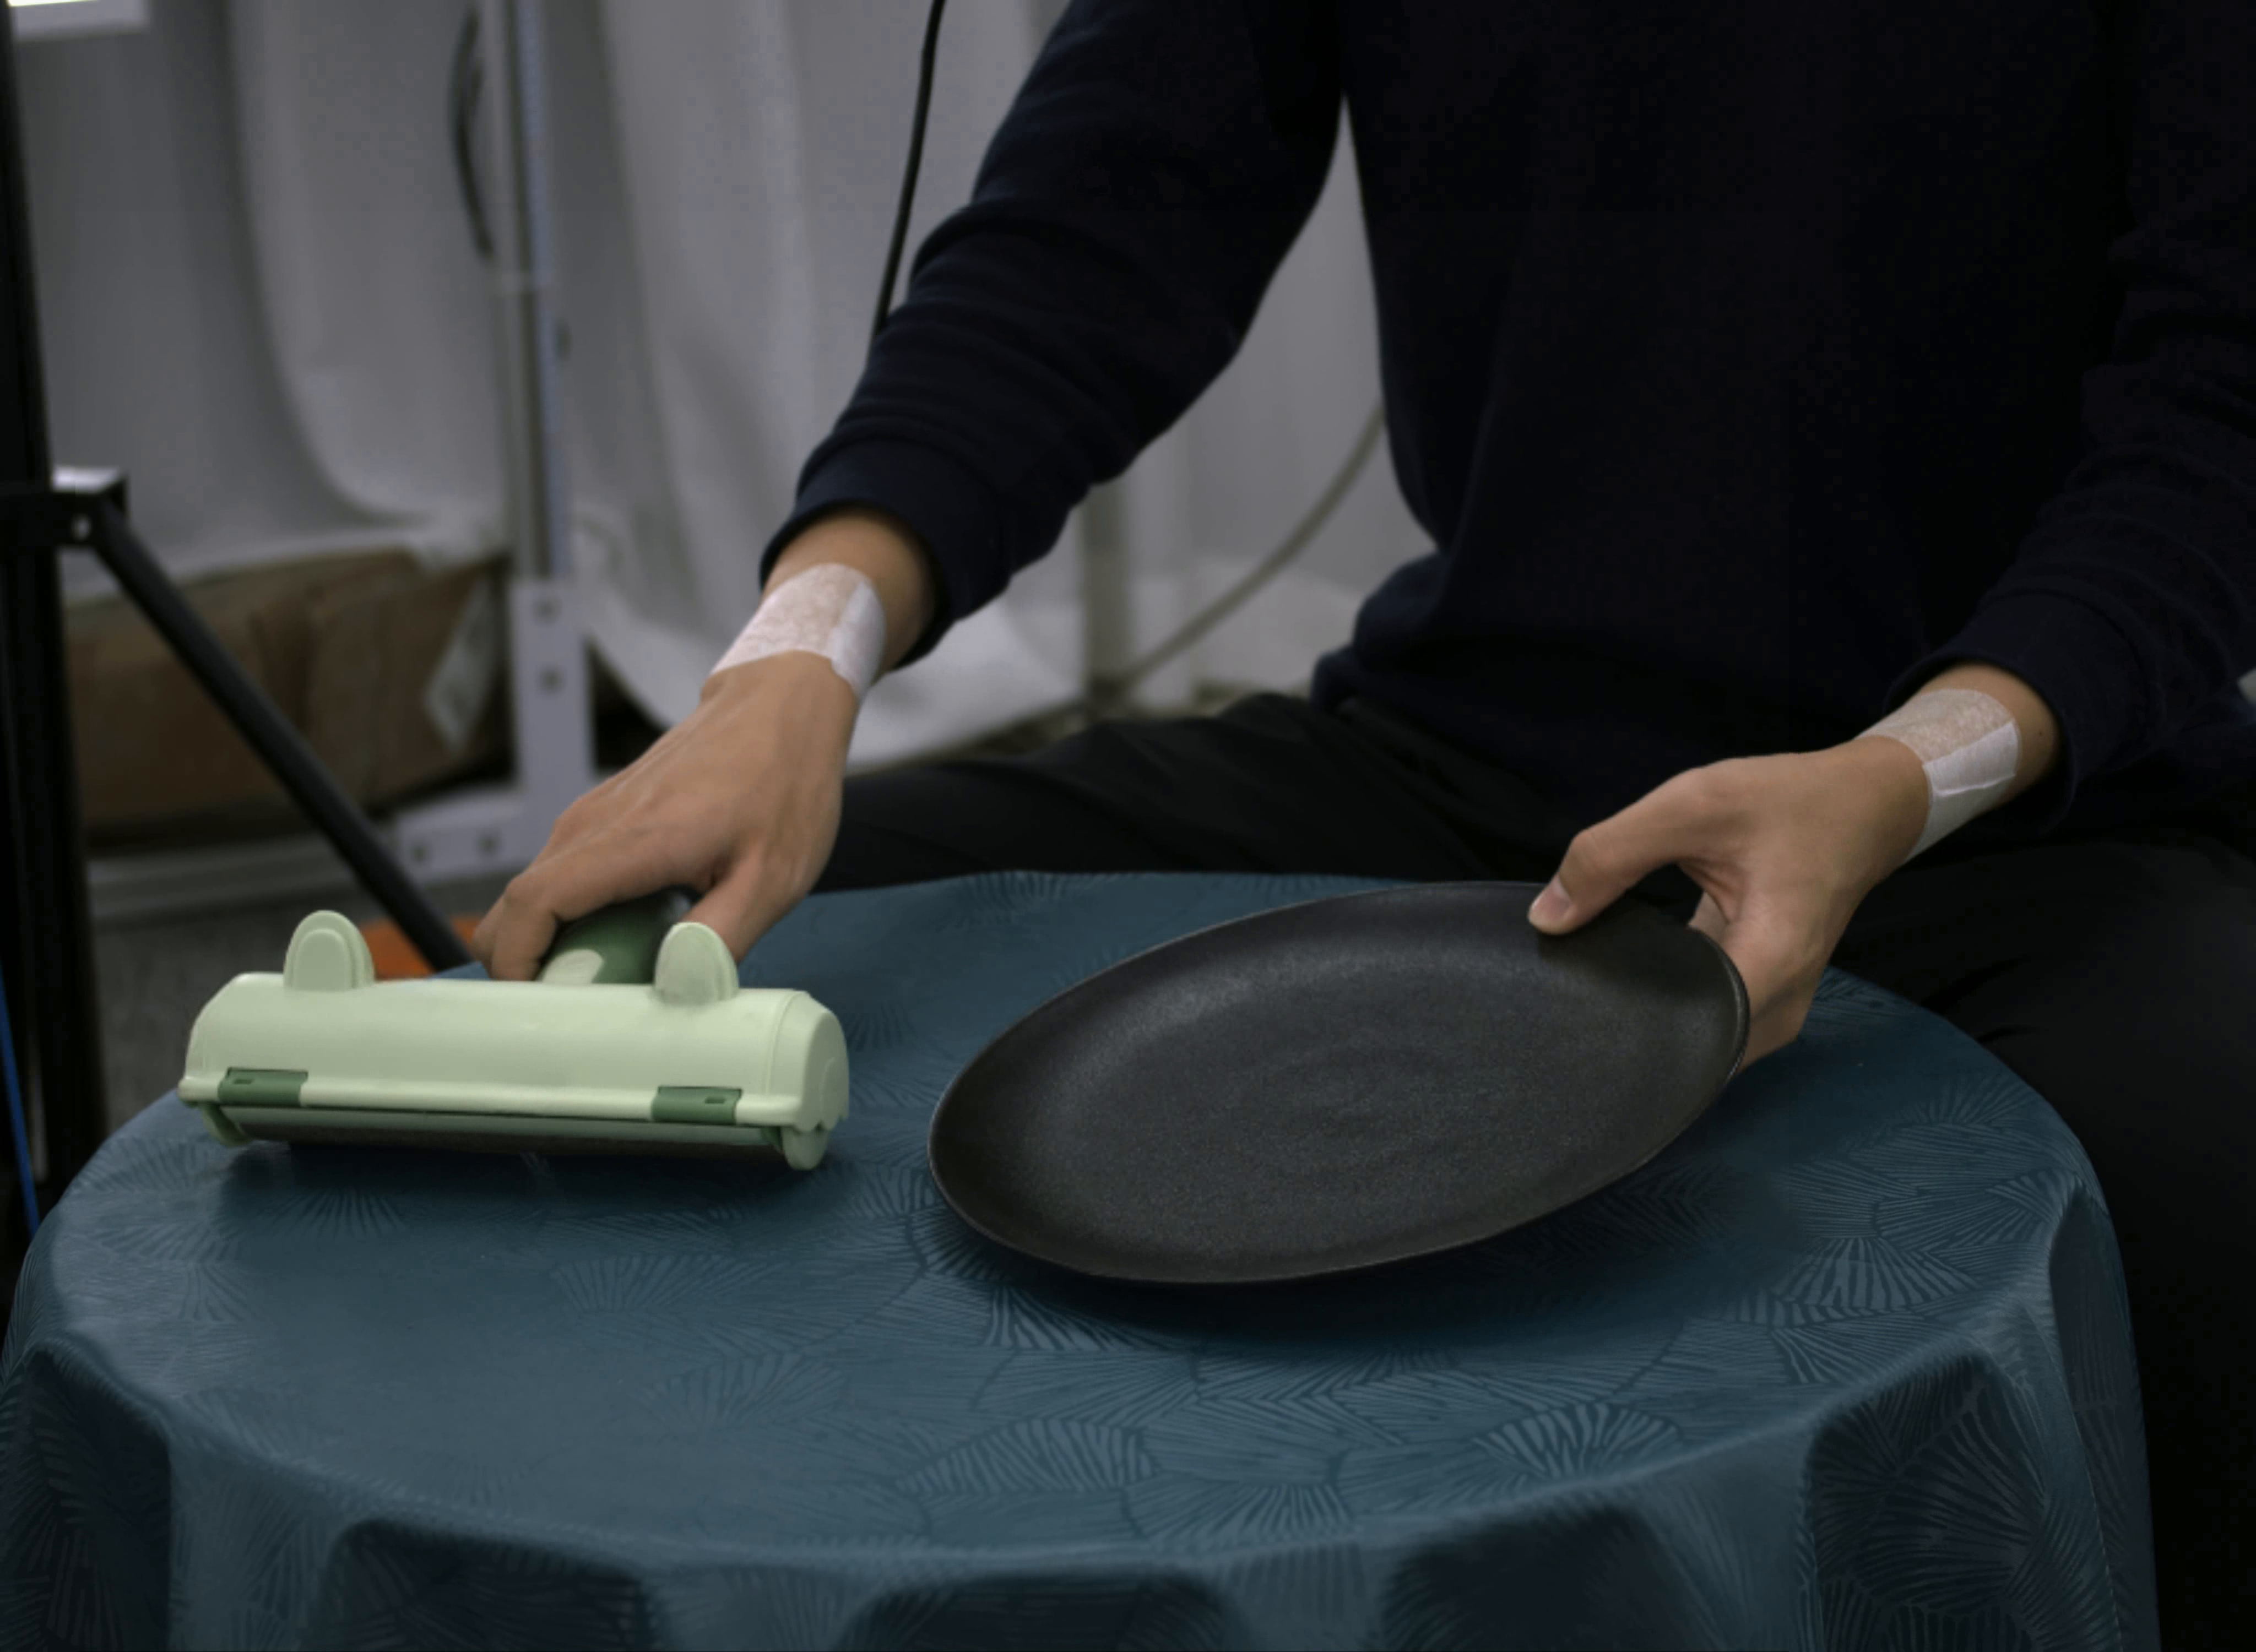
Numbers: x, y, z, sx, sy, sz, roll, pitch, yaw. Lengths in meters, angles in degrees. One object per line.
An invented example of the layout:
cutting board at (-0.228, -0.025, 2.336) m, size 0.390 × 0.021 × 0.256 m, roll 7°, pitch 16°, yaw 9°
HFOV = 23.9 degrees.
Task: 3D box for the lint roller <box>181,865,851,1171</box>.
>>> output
lint roller at (-0.173, 0.038, 1.649) m, size 0.200 × 0.082 × 0.183 m, roll 1°, pitch 30°, yaw 14°

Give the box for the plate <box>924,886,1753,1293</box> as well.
plate at (0.062, 0.081, 1.536) m, size 0.244 × 0.023 × 0.246 m, roll -12°, pitch 23°, yaw 3°
